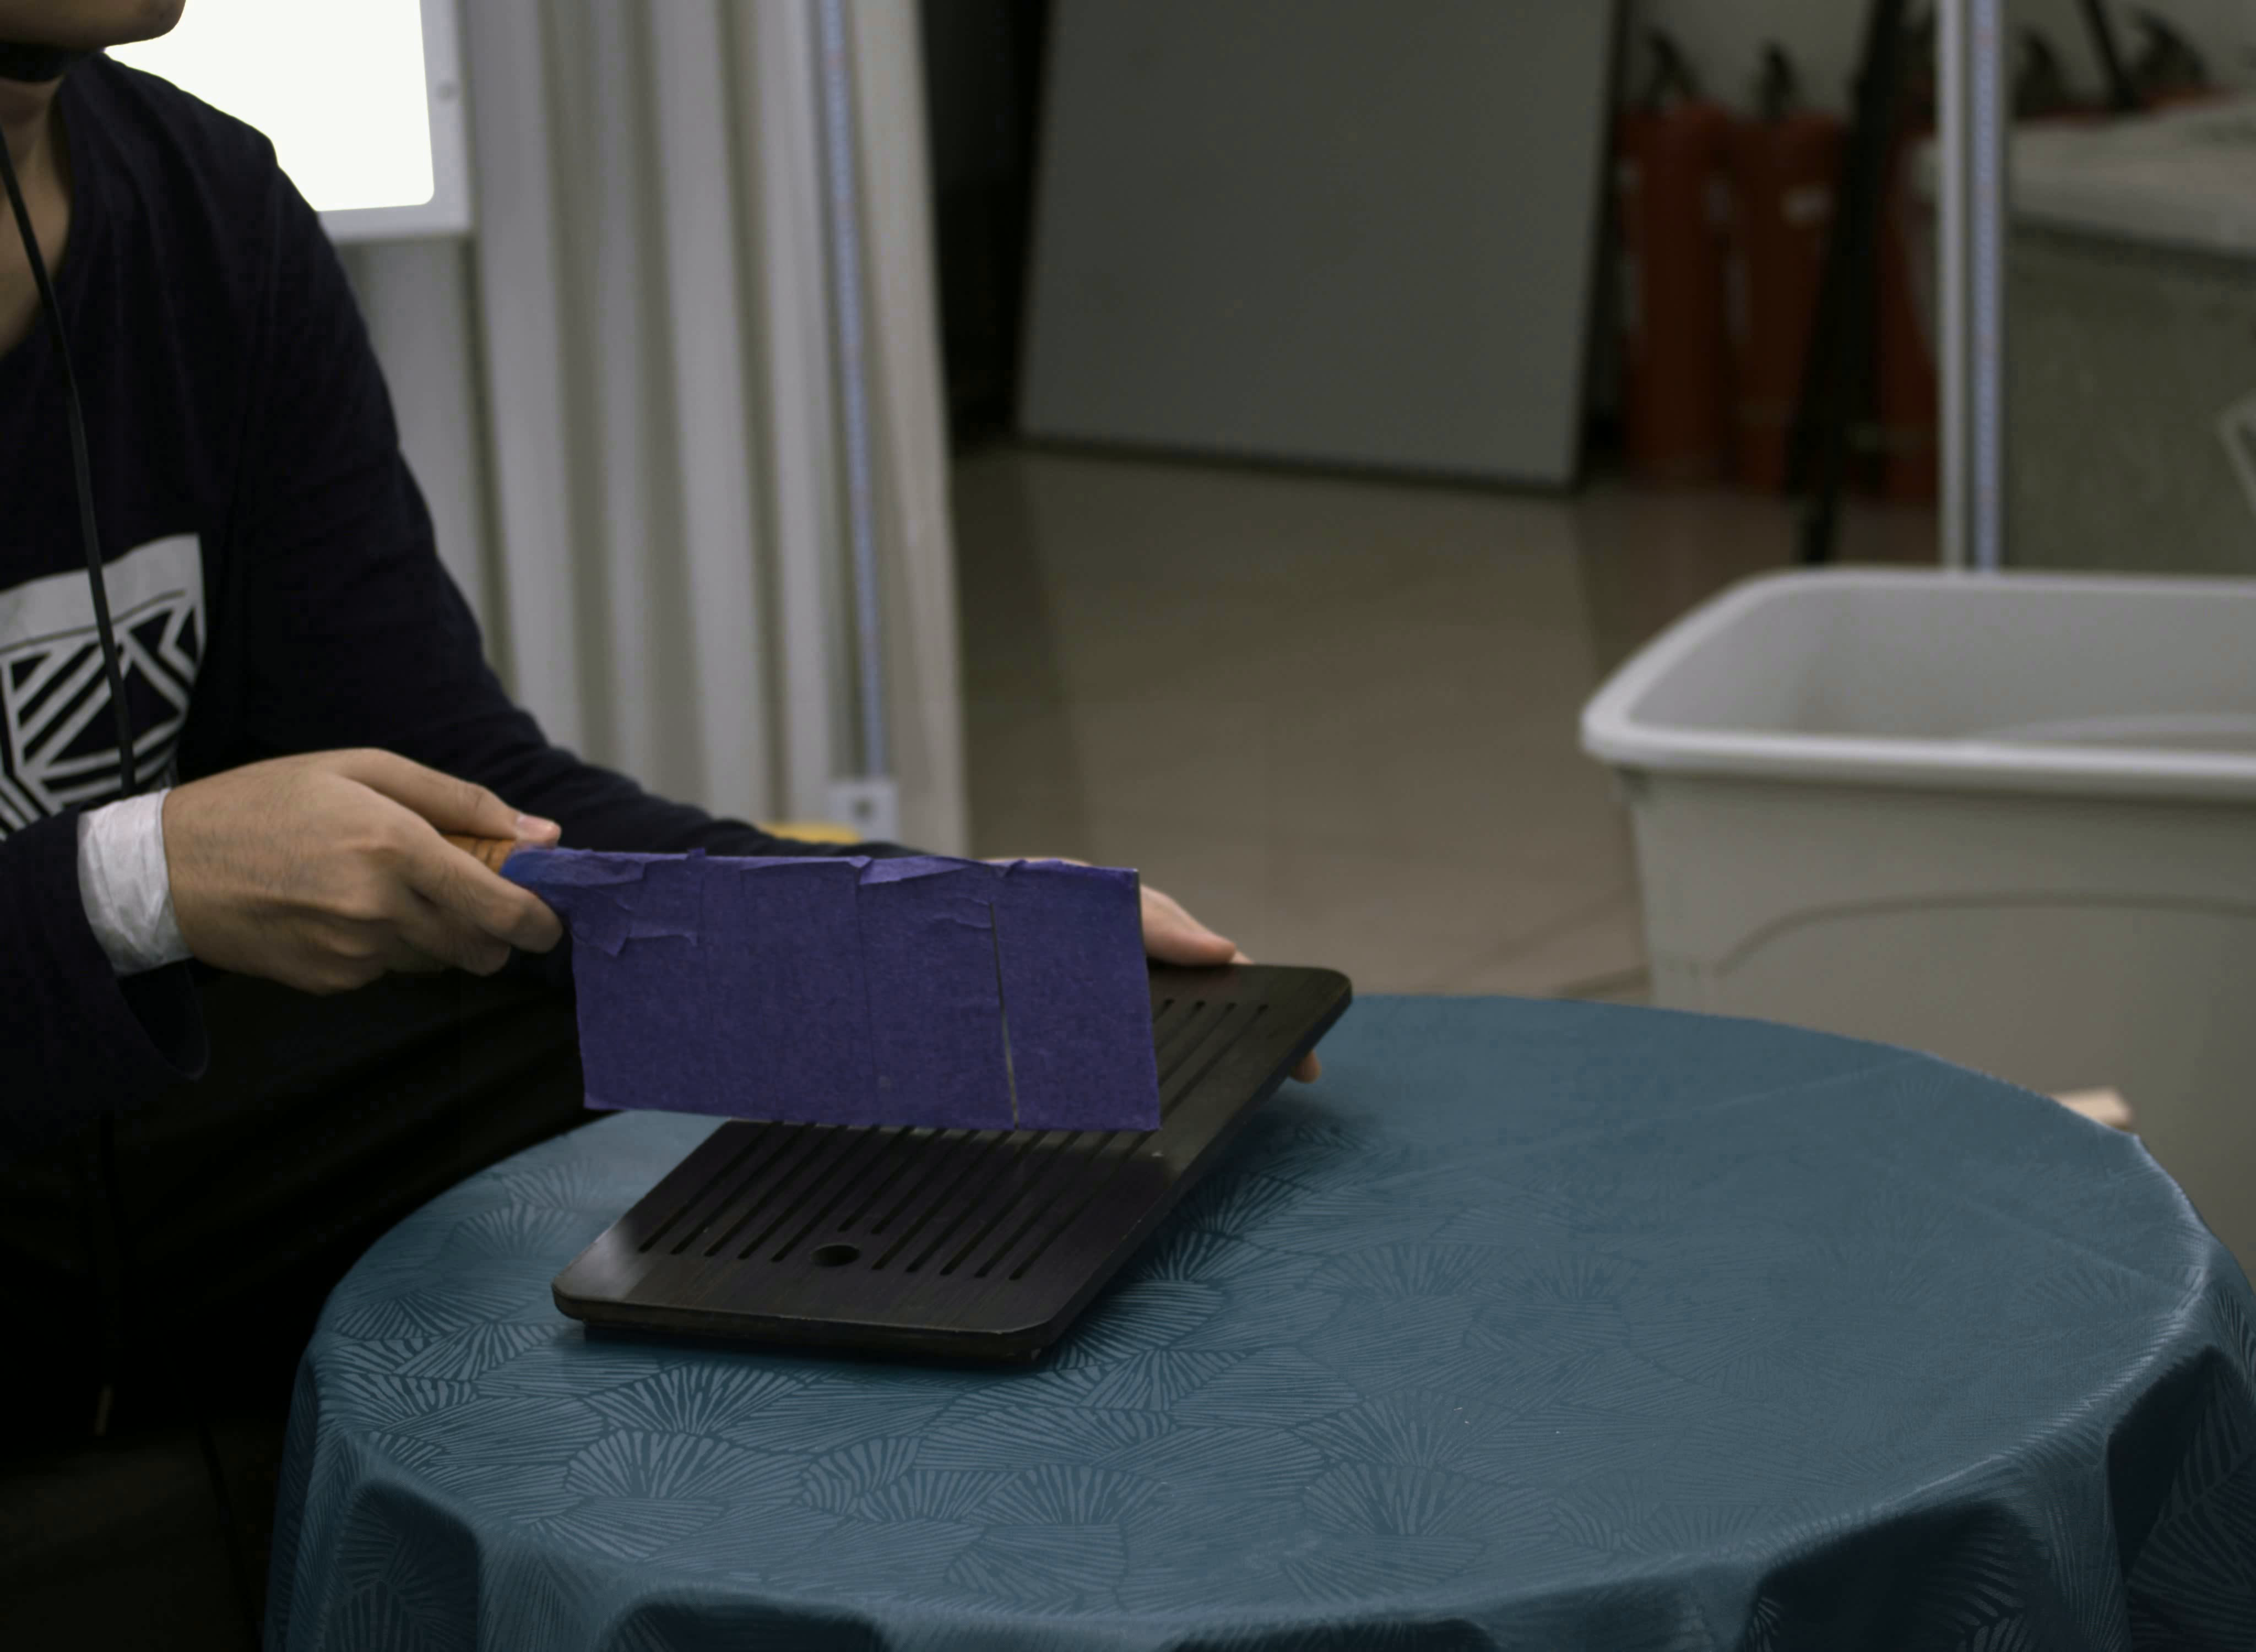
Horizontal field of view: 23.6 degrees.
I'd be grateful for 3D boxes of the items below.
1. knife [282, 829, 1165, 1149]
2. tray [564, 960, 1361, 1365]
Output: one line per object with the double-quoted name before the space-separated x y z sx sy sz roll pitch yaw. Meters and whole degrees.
"knife" -0.136 0.053 1.772 0.315 0.105 0.032 0 10 25
"tray" -0.046 0.105 1.761 0.170 0.019 0.303 1 20 22
